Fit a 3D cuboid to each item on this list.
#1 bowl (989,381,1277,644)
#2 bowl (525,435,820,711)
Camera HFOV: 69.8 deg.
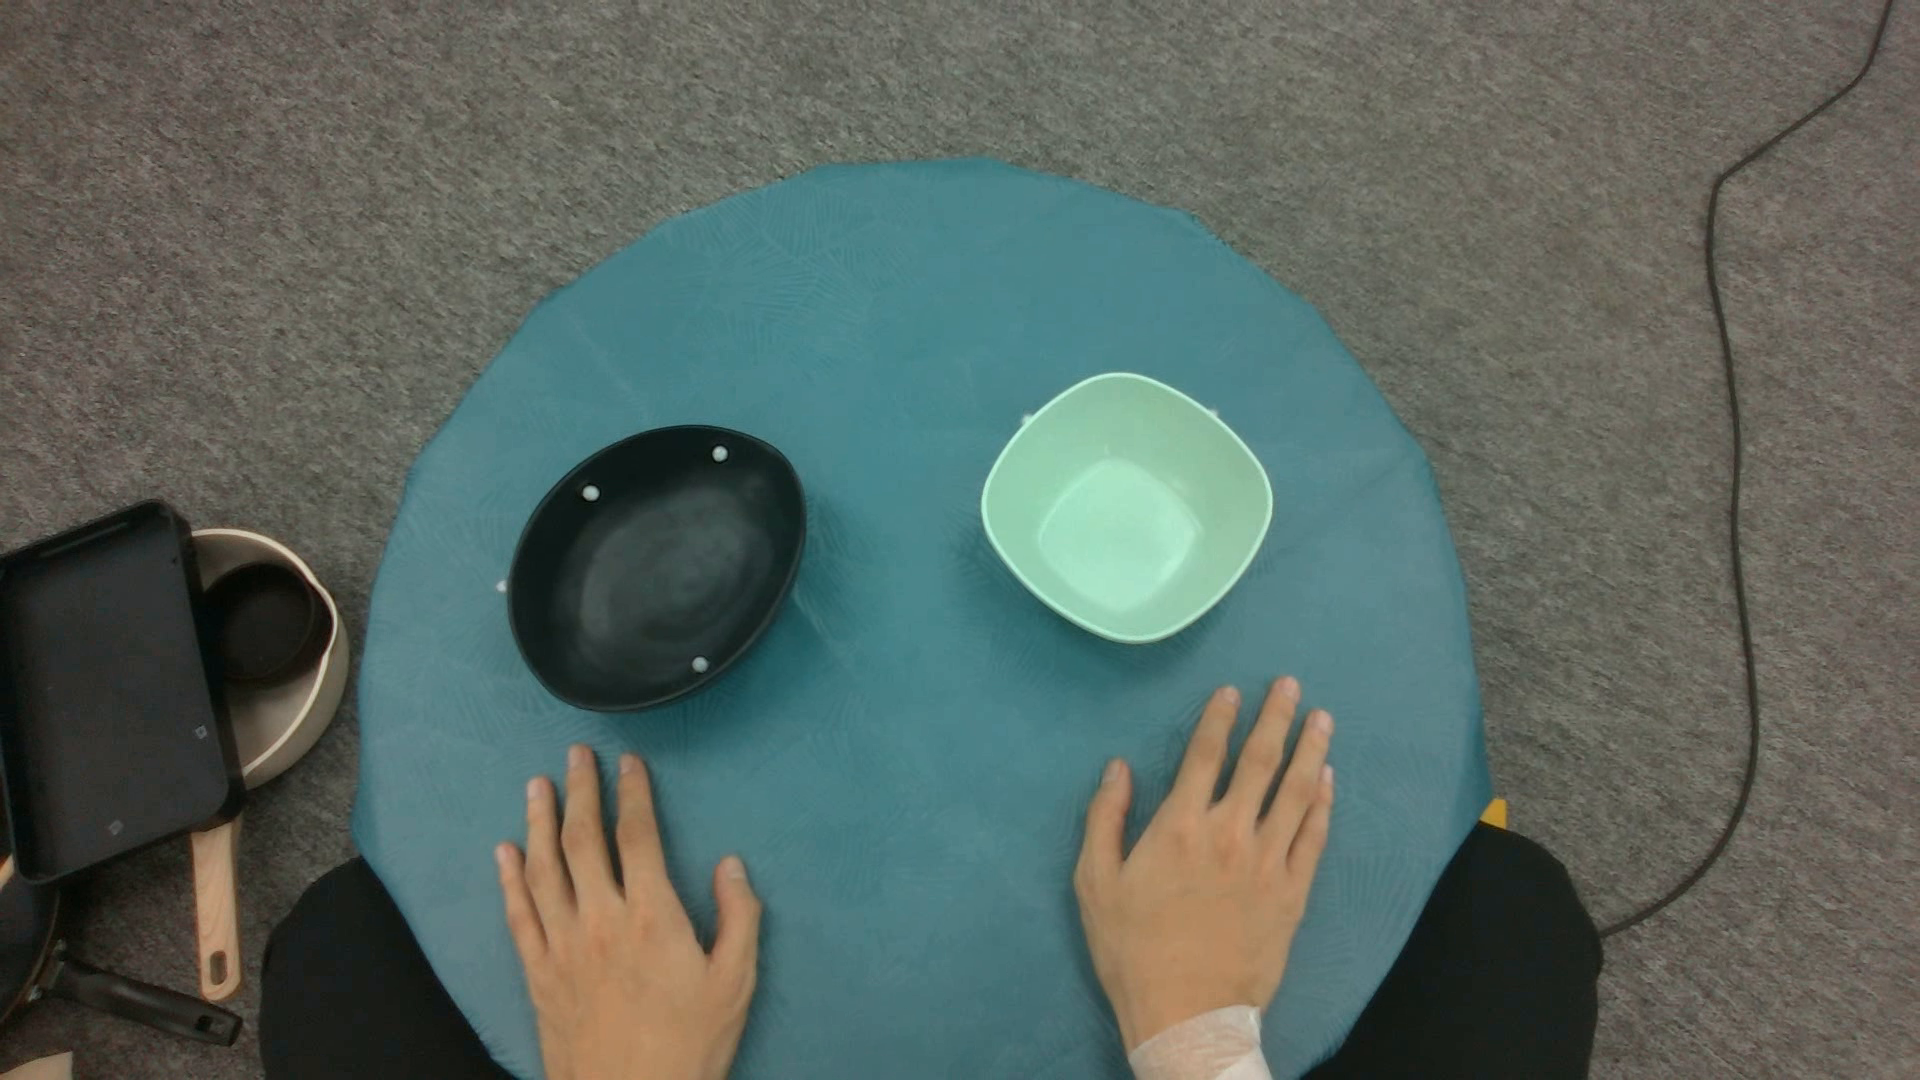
[{"bbox_3d":[0.092,-0.008,0.748,0.151,0.058,0.152,-1,67,3],"label":"bowl"},{"bbox_3d":[-0.149,0.021,0.741,0.137,0.066,0.171,34,72,14],"label":"bowl"}]
